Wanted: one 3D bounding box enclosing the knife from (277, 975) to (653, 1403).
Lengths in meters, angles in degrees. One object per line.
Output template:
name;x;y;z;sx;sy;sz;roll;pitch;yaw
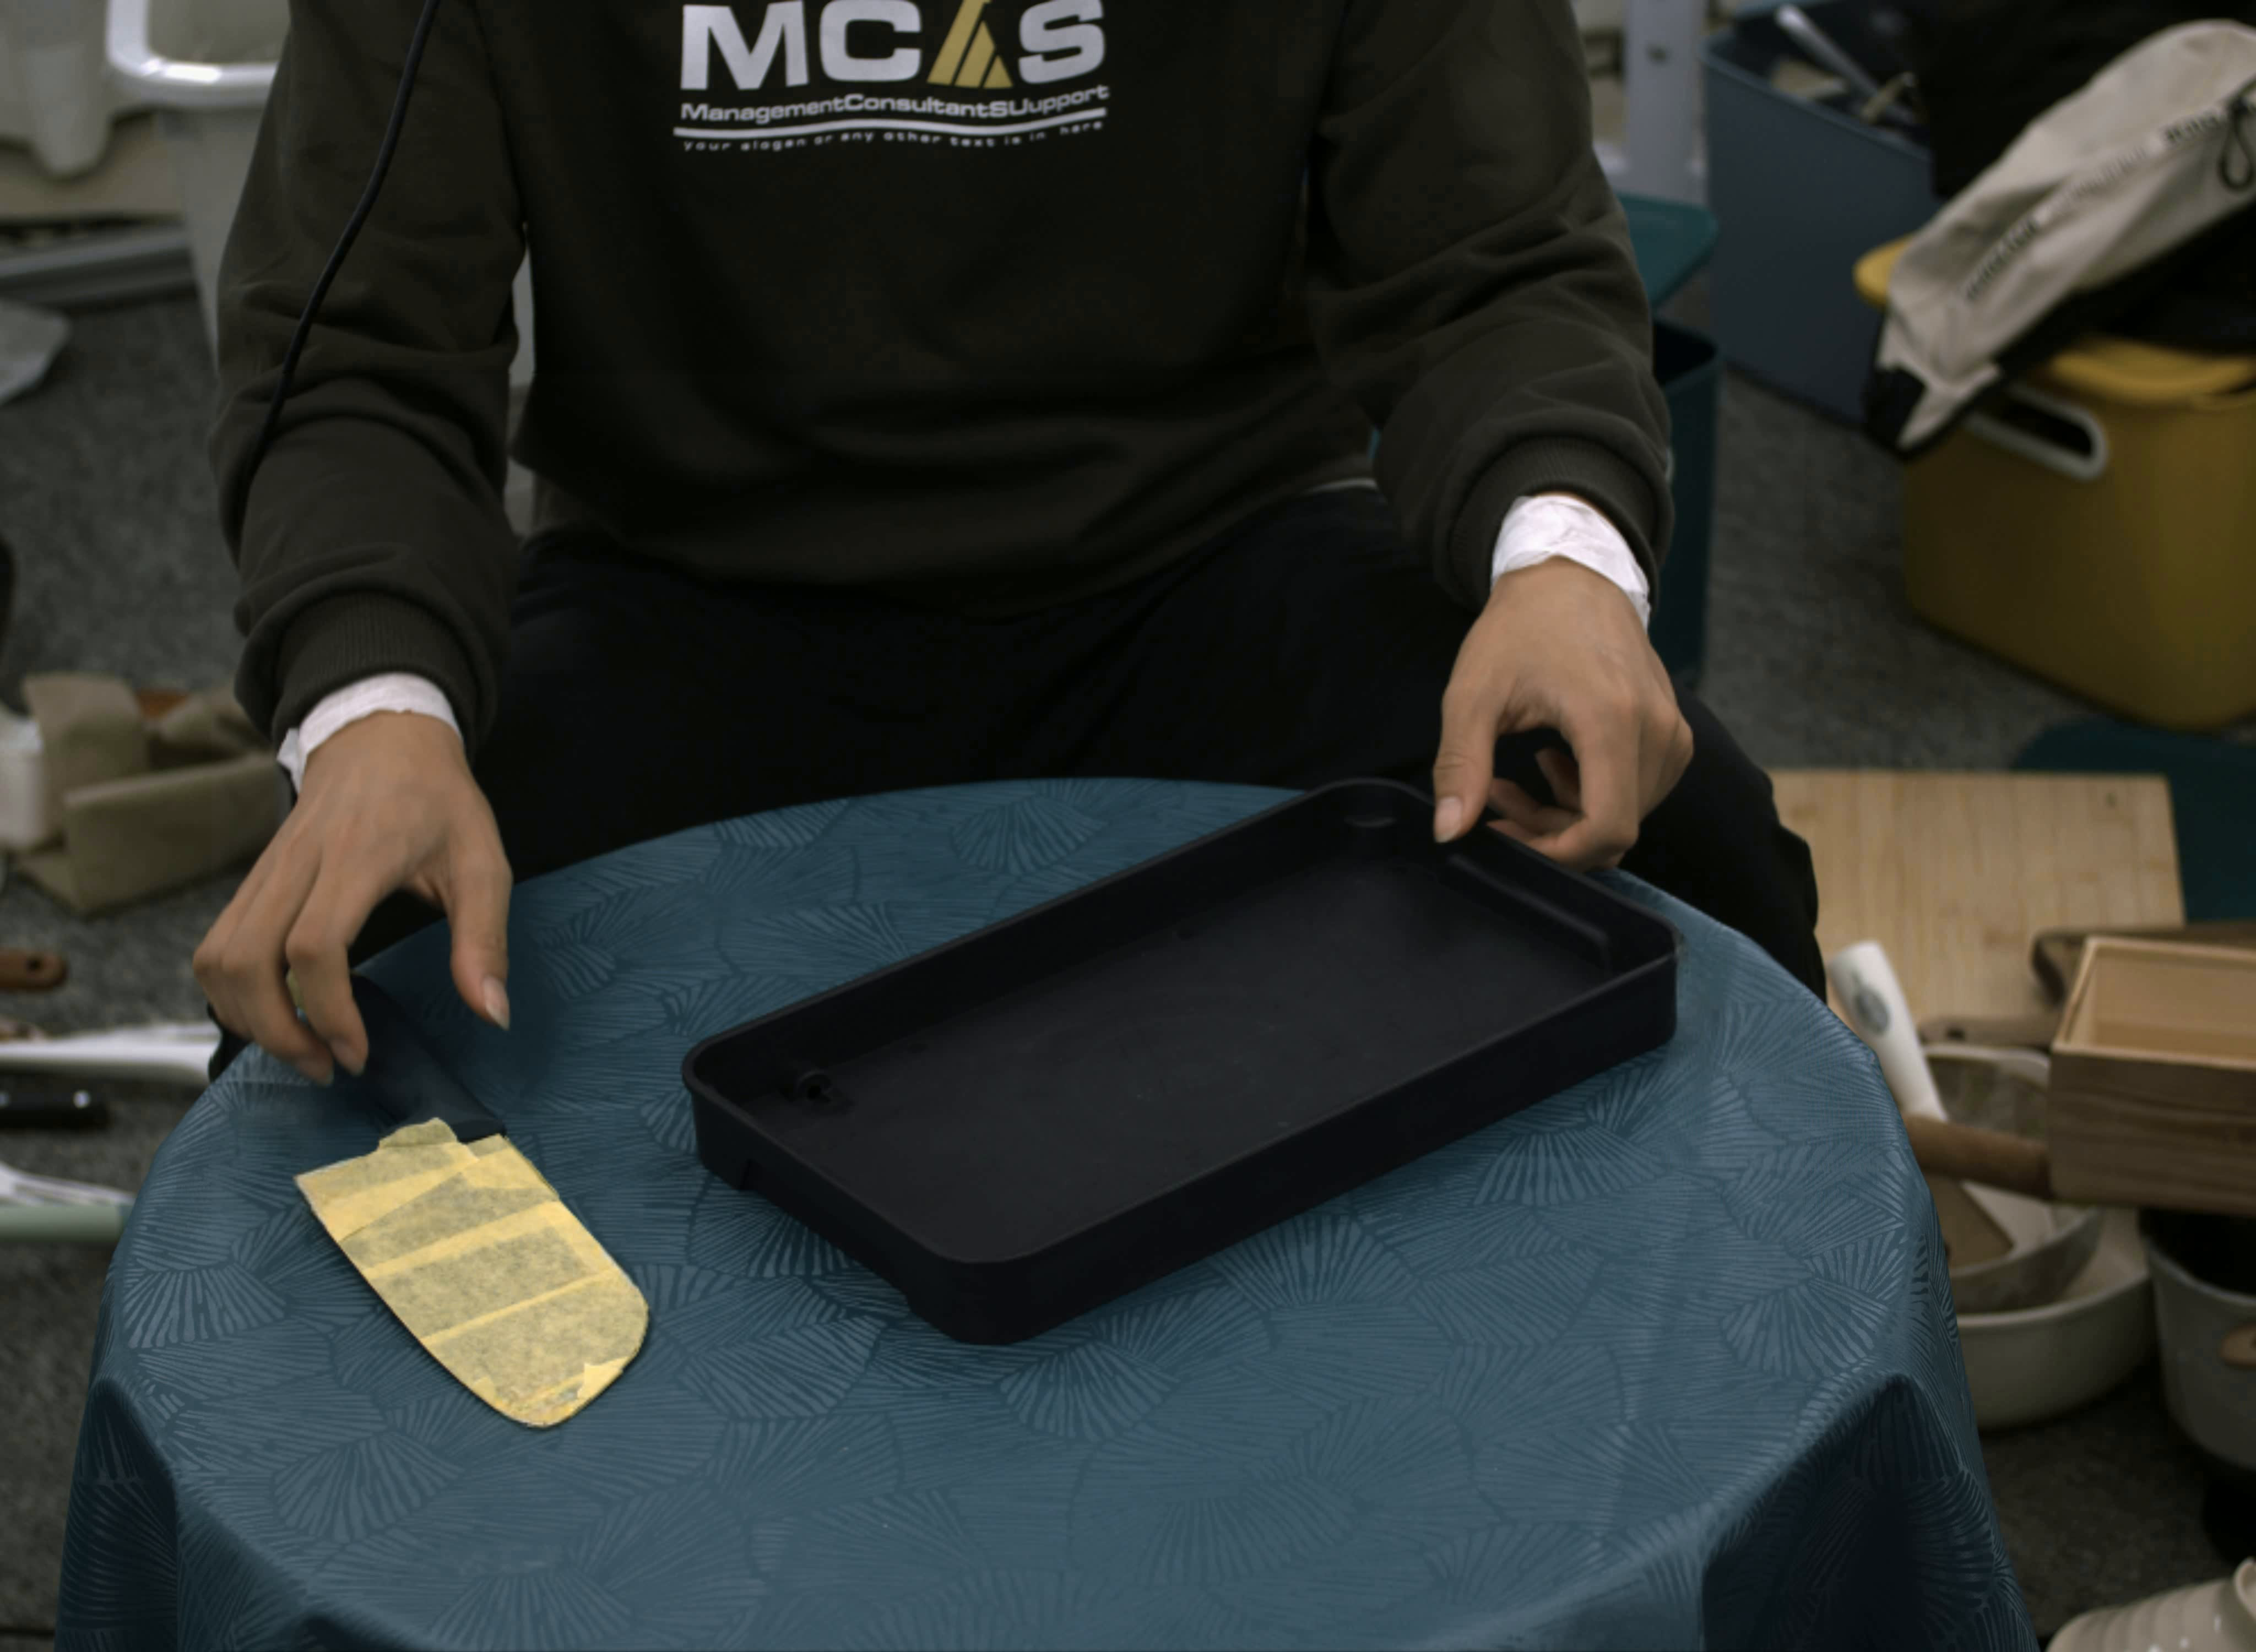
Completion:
knife;-0.235;0.121;1.869;0.081;0.027;0.291;-14;30;-23

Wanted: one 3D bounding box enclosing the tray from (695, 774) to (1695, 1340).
tray;0.026;0.072;1.916;0.321;0.036;0.184;-23;33;-34
